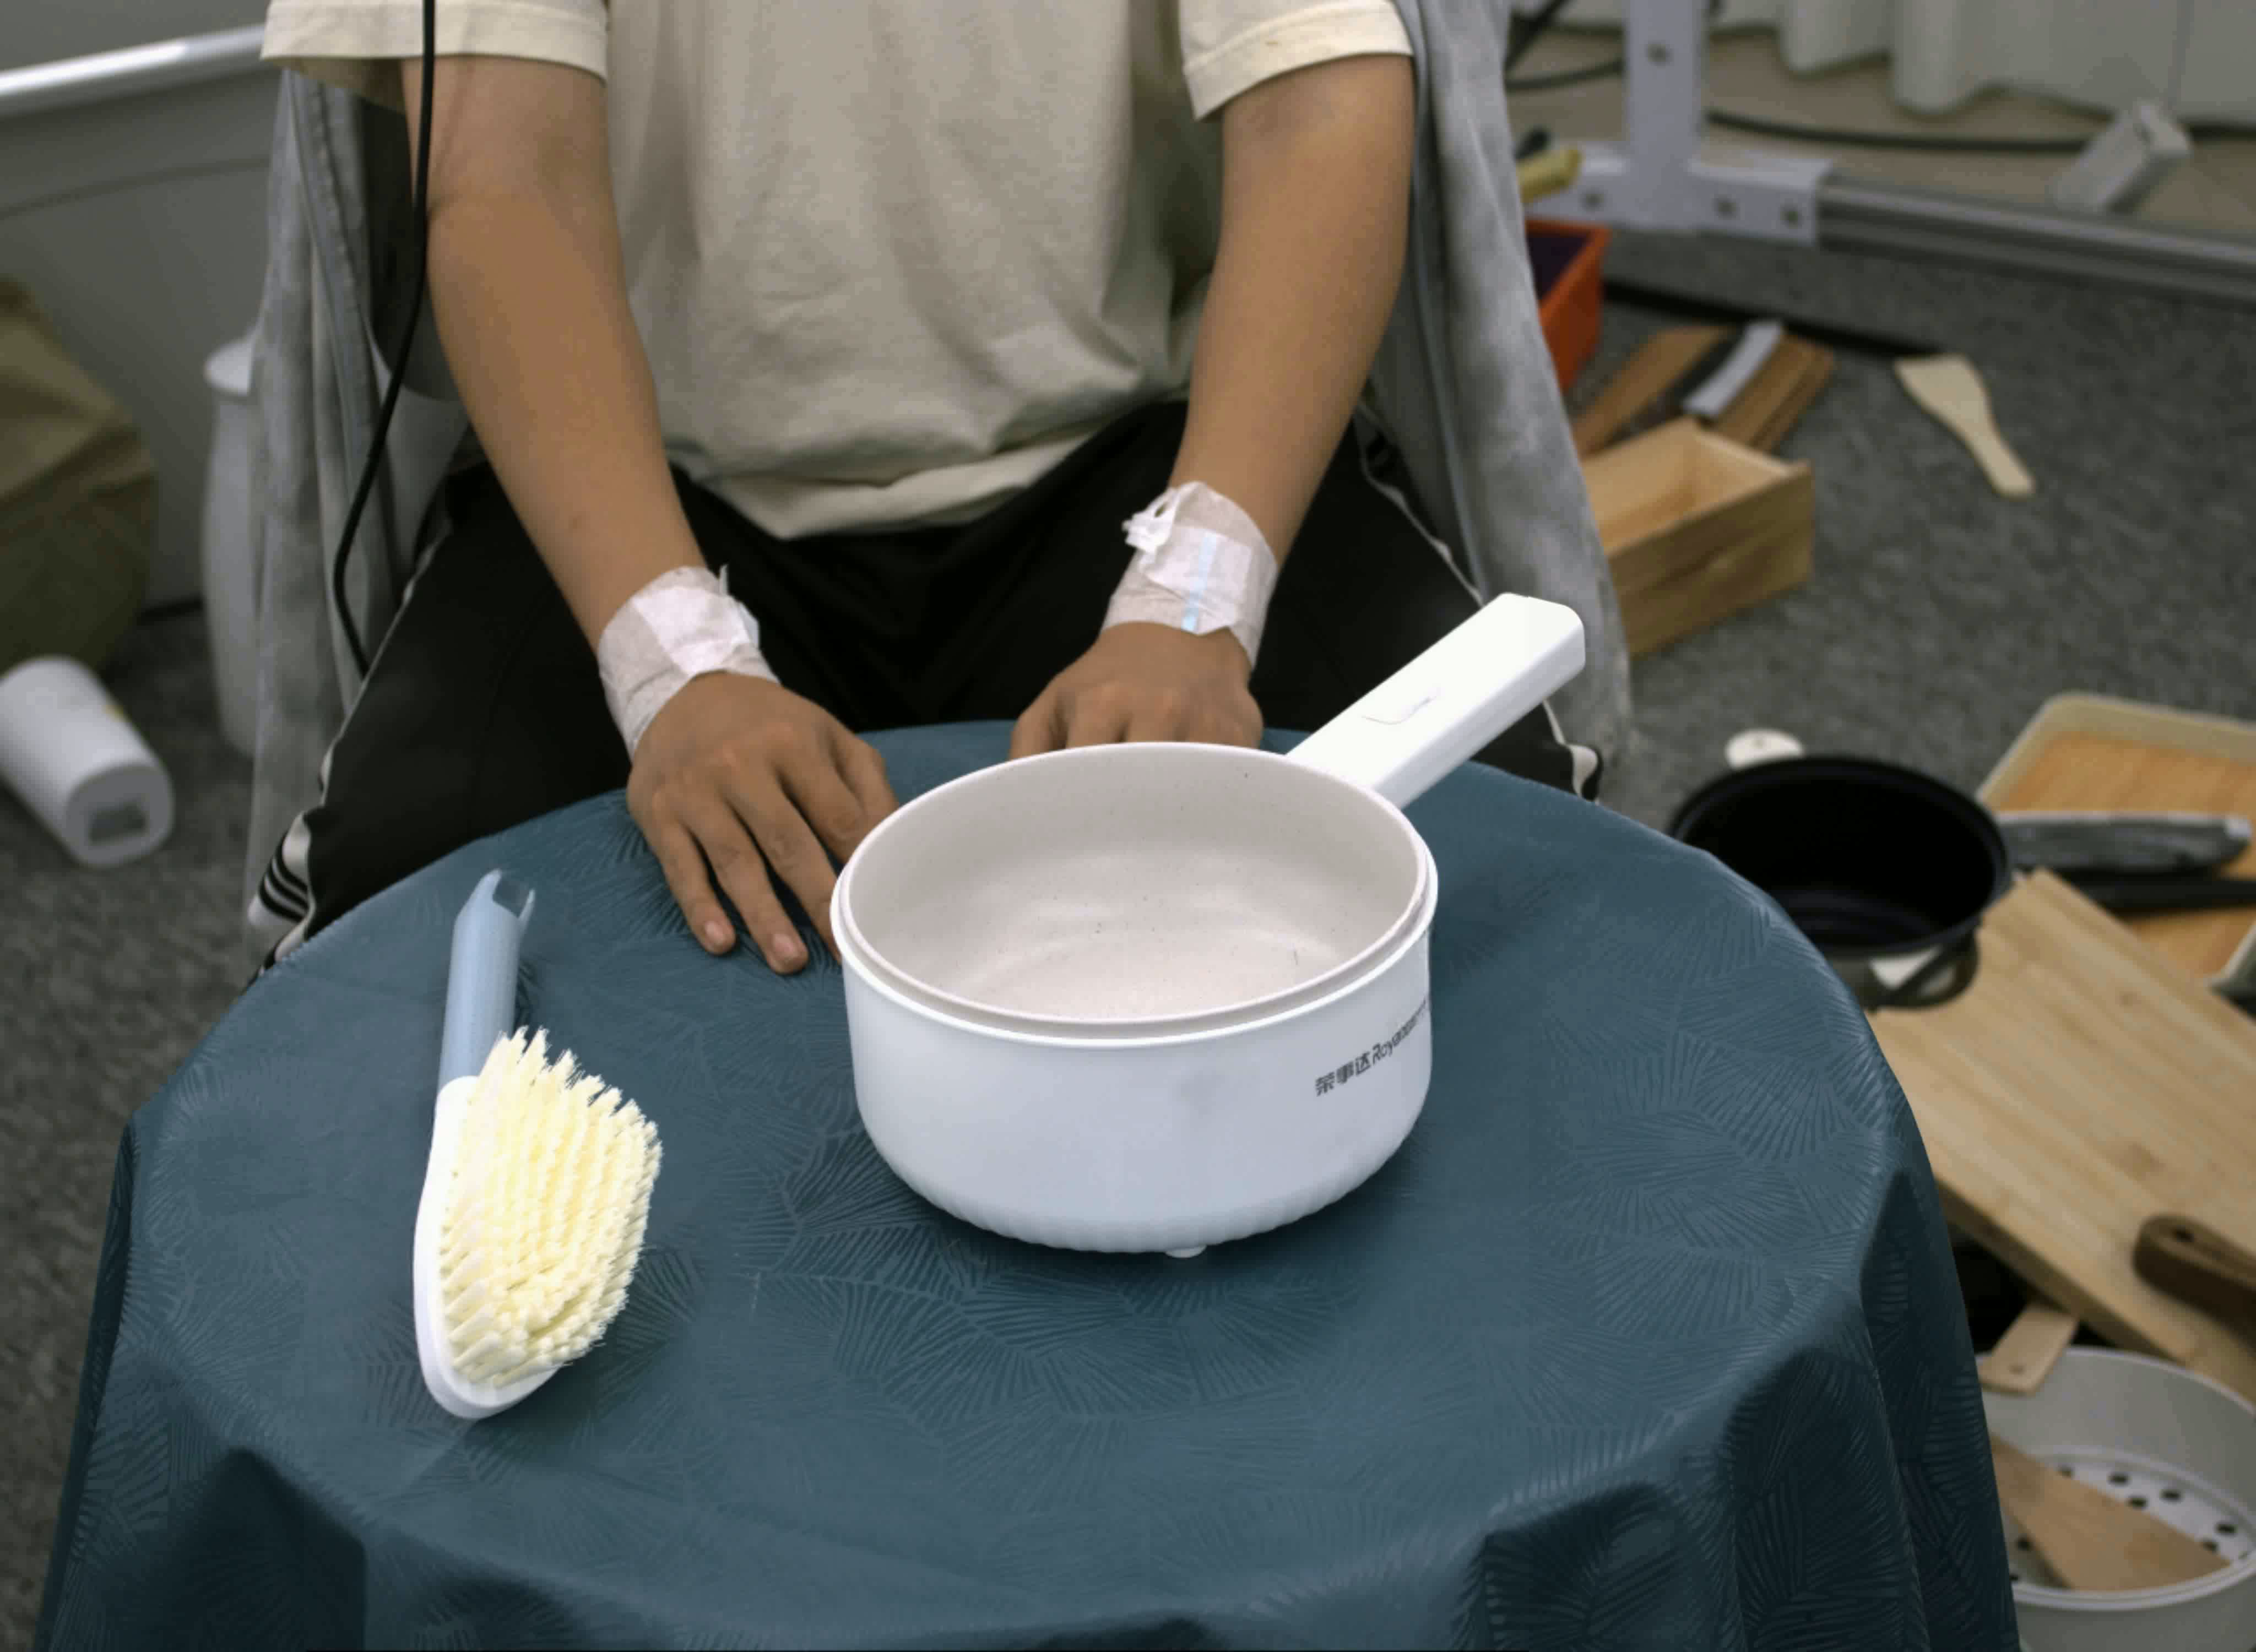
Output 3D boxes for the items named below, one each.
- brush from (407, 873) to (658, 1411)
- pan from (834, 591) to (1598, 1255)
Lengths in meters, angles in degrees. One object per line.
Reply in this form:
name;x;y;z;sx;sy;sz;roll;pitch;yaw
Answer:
brush;-0.199;0.078;1.875;0.084;0.082;0.330;-10;28;2
pan;0.050;0.029;1.925;0.200;0.101;0.360;16;32;32
